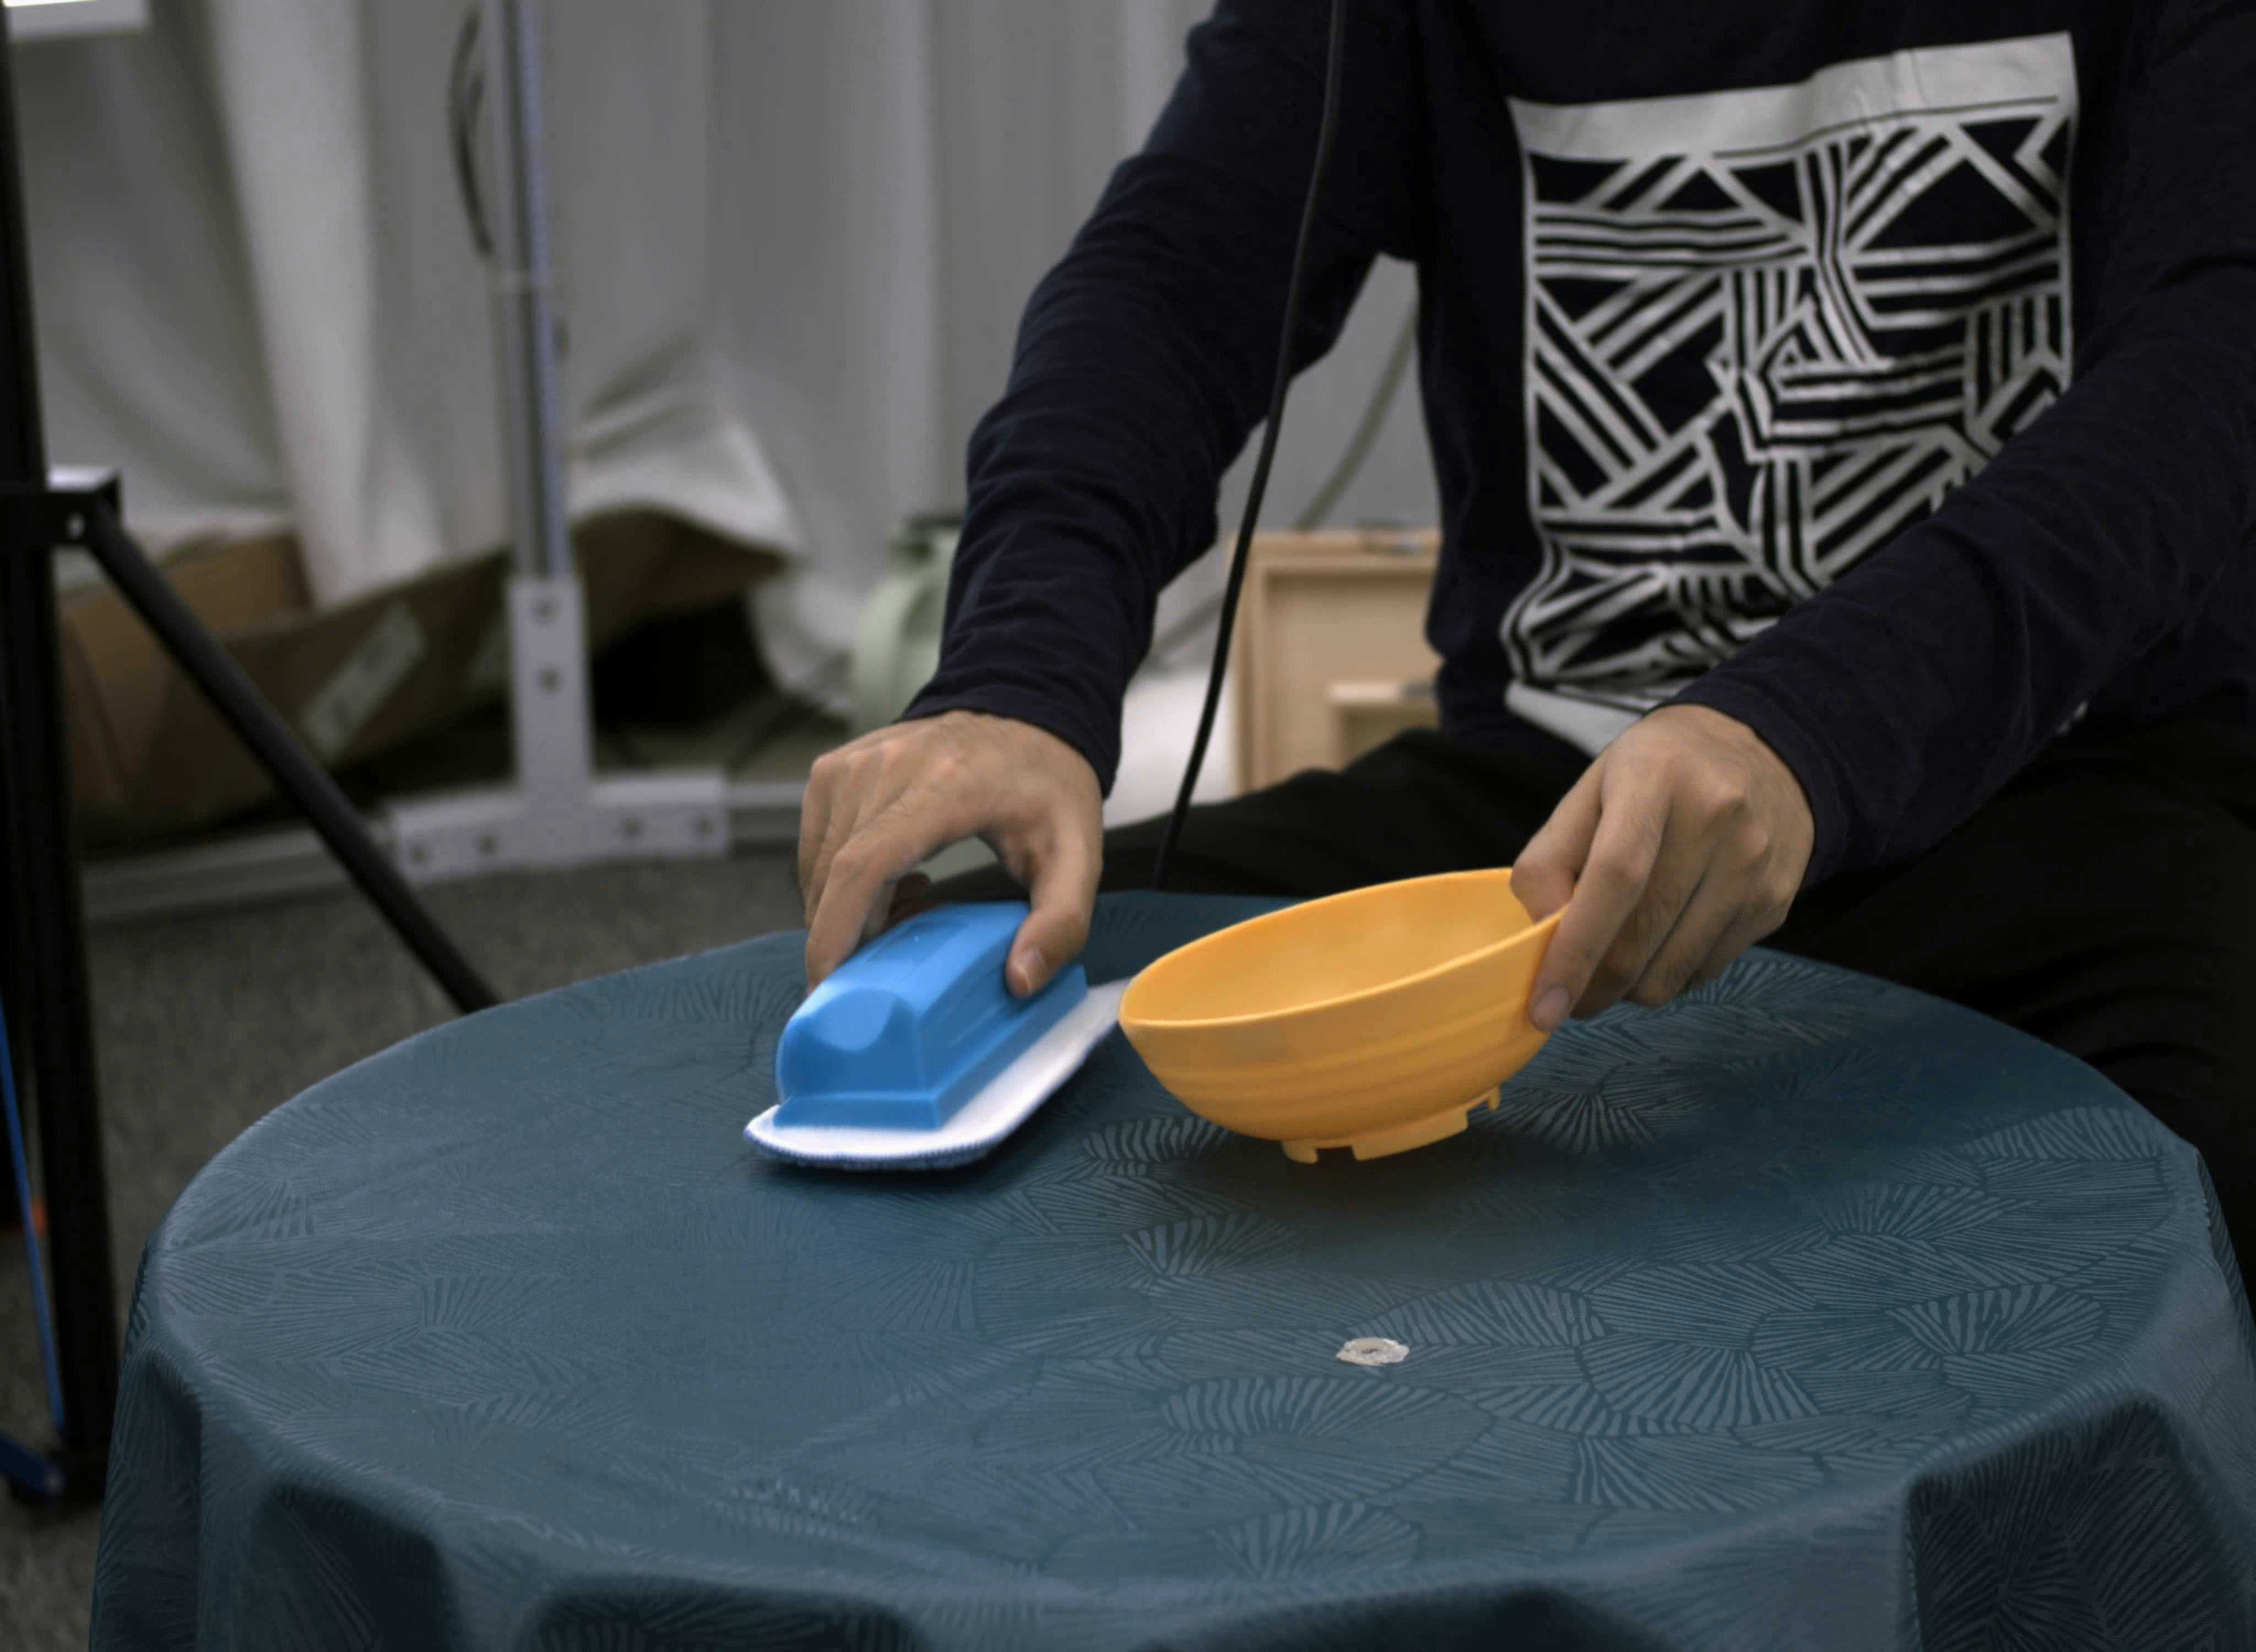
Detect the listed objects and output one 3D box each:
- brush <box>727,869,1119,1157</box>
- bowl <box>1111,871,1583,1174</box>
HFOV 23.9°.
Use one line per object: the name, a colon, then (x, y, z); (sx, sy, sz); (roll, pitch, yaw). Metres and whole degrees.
brush: (-0.062, 0.054, 1.635); (0.085, 0.056, 0.142); (6, 22, 23)
bowl: (0.071, 0.065, 1.577); (0.145, 0.060, 0.146); (-13, 12, 1)
